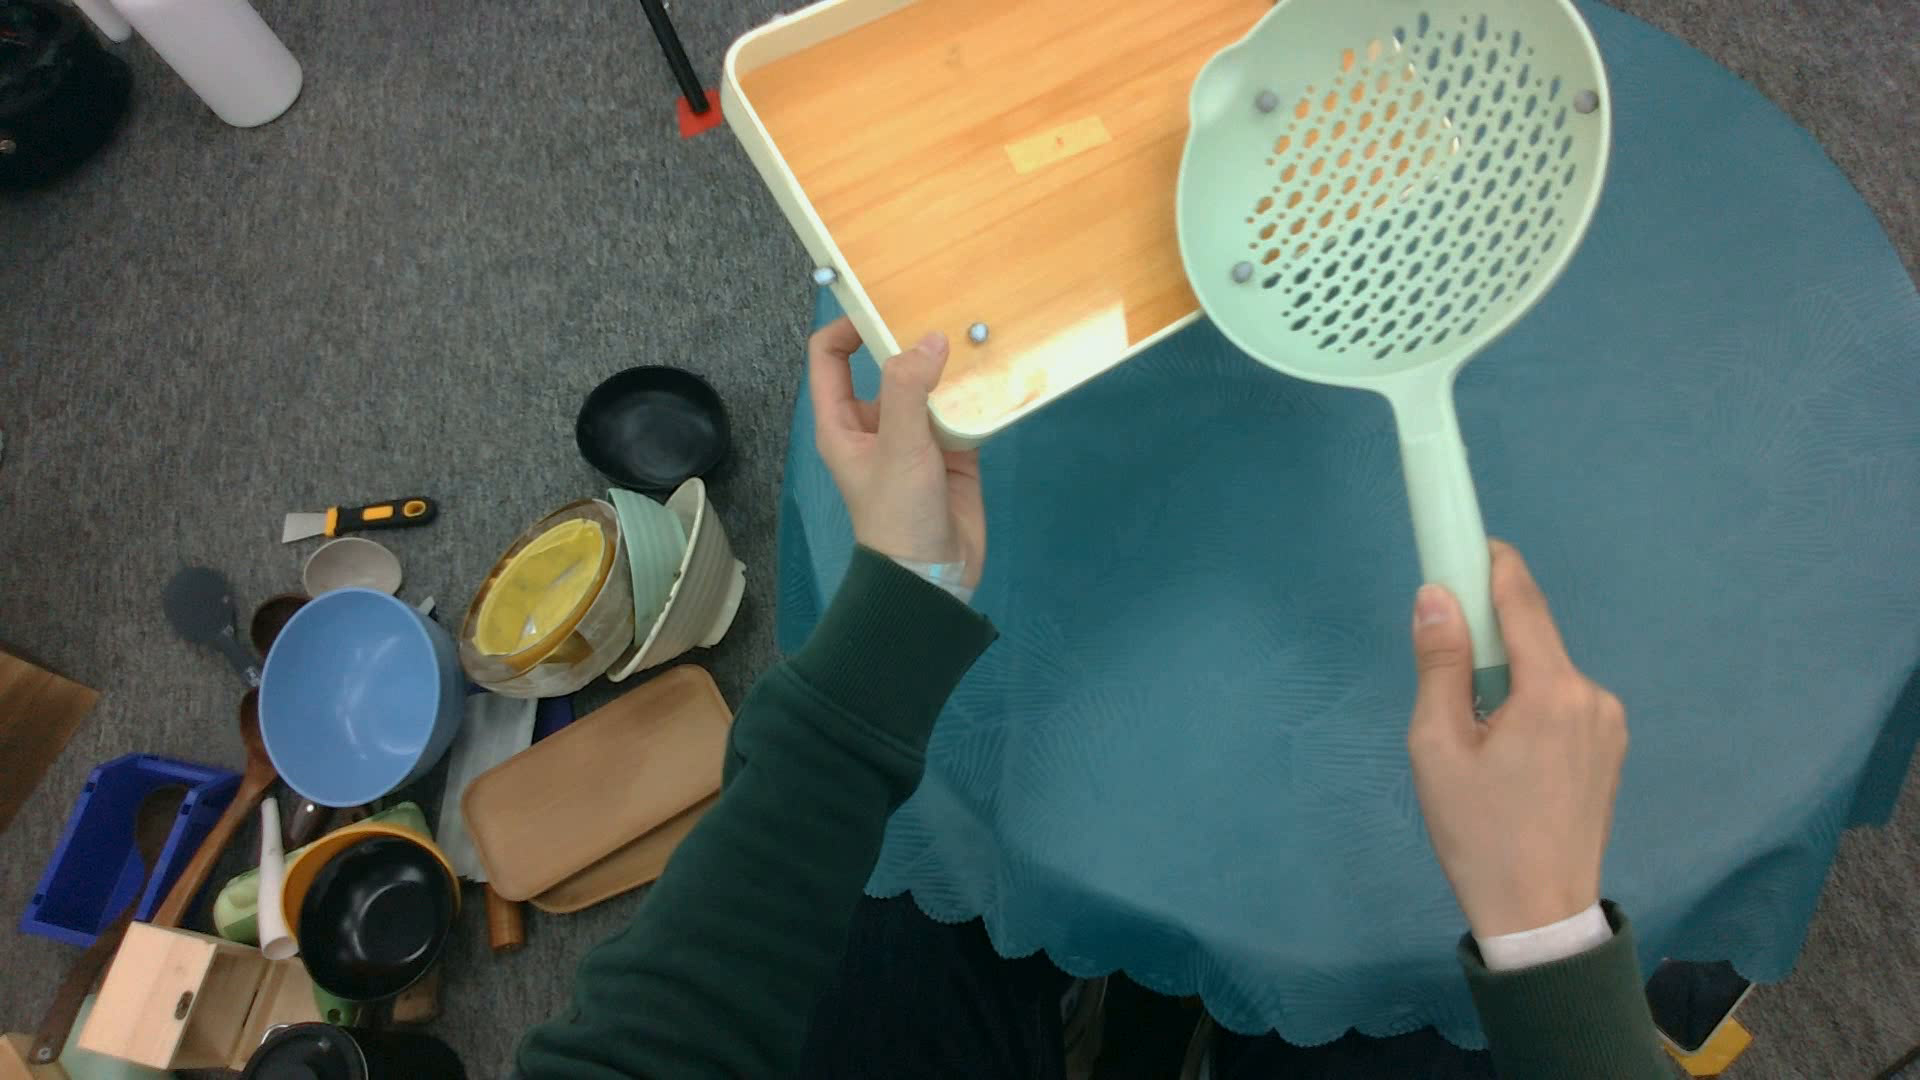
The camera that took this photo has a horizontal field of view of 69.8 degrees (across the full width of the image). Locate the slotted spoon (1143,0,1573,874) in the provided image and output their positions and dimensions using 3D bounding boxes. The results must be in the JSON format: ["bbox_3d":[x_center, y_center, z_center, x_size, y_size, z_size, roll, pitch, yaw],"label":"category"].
[{"bbox_3d":[0.168,-0.057,0.528,0.169,0.075,0.359,-15,69,34],"label":"slotted spoon"}]

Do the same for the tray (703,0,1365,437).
[{"bbox_3d":[0.058,-0.189,0.613,0.301,0.027,0.191,-31,87,-21],"label":"tray"}]
